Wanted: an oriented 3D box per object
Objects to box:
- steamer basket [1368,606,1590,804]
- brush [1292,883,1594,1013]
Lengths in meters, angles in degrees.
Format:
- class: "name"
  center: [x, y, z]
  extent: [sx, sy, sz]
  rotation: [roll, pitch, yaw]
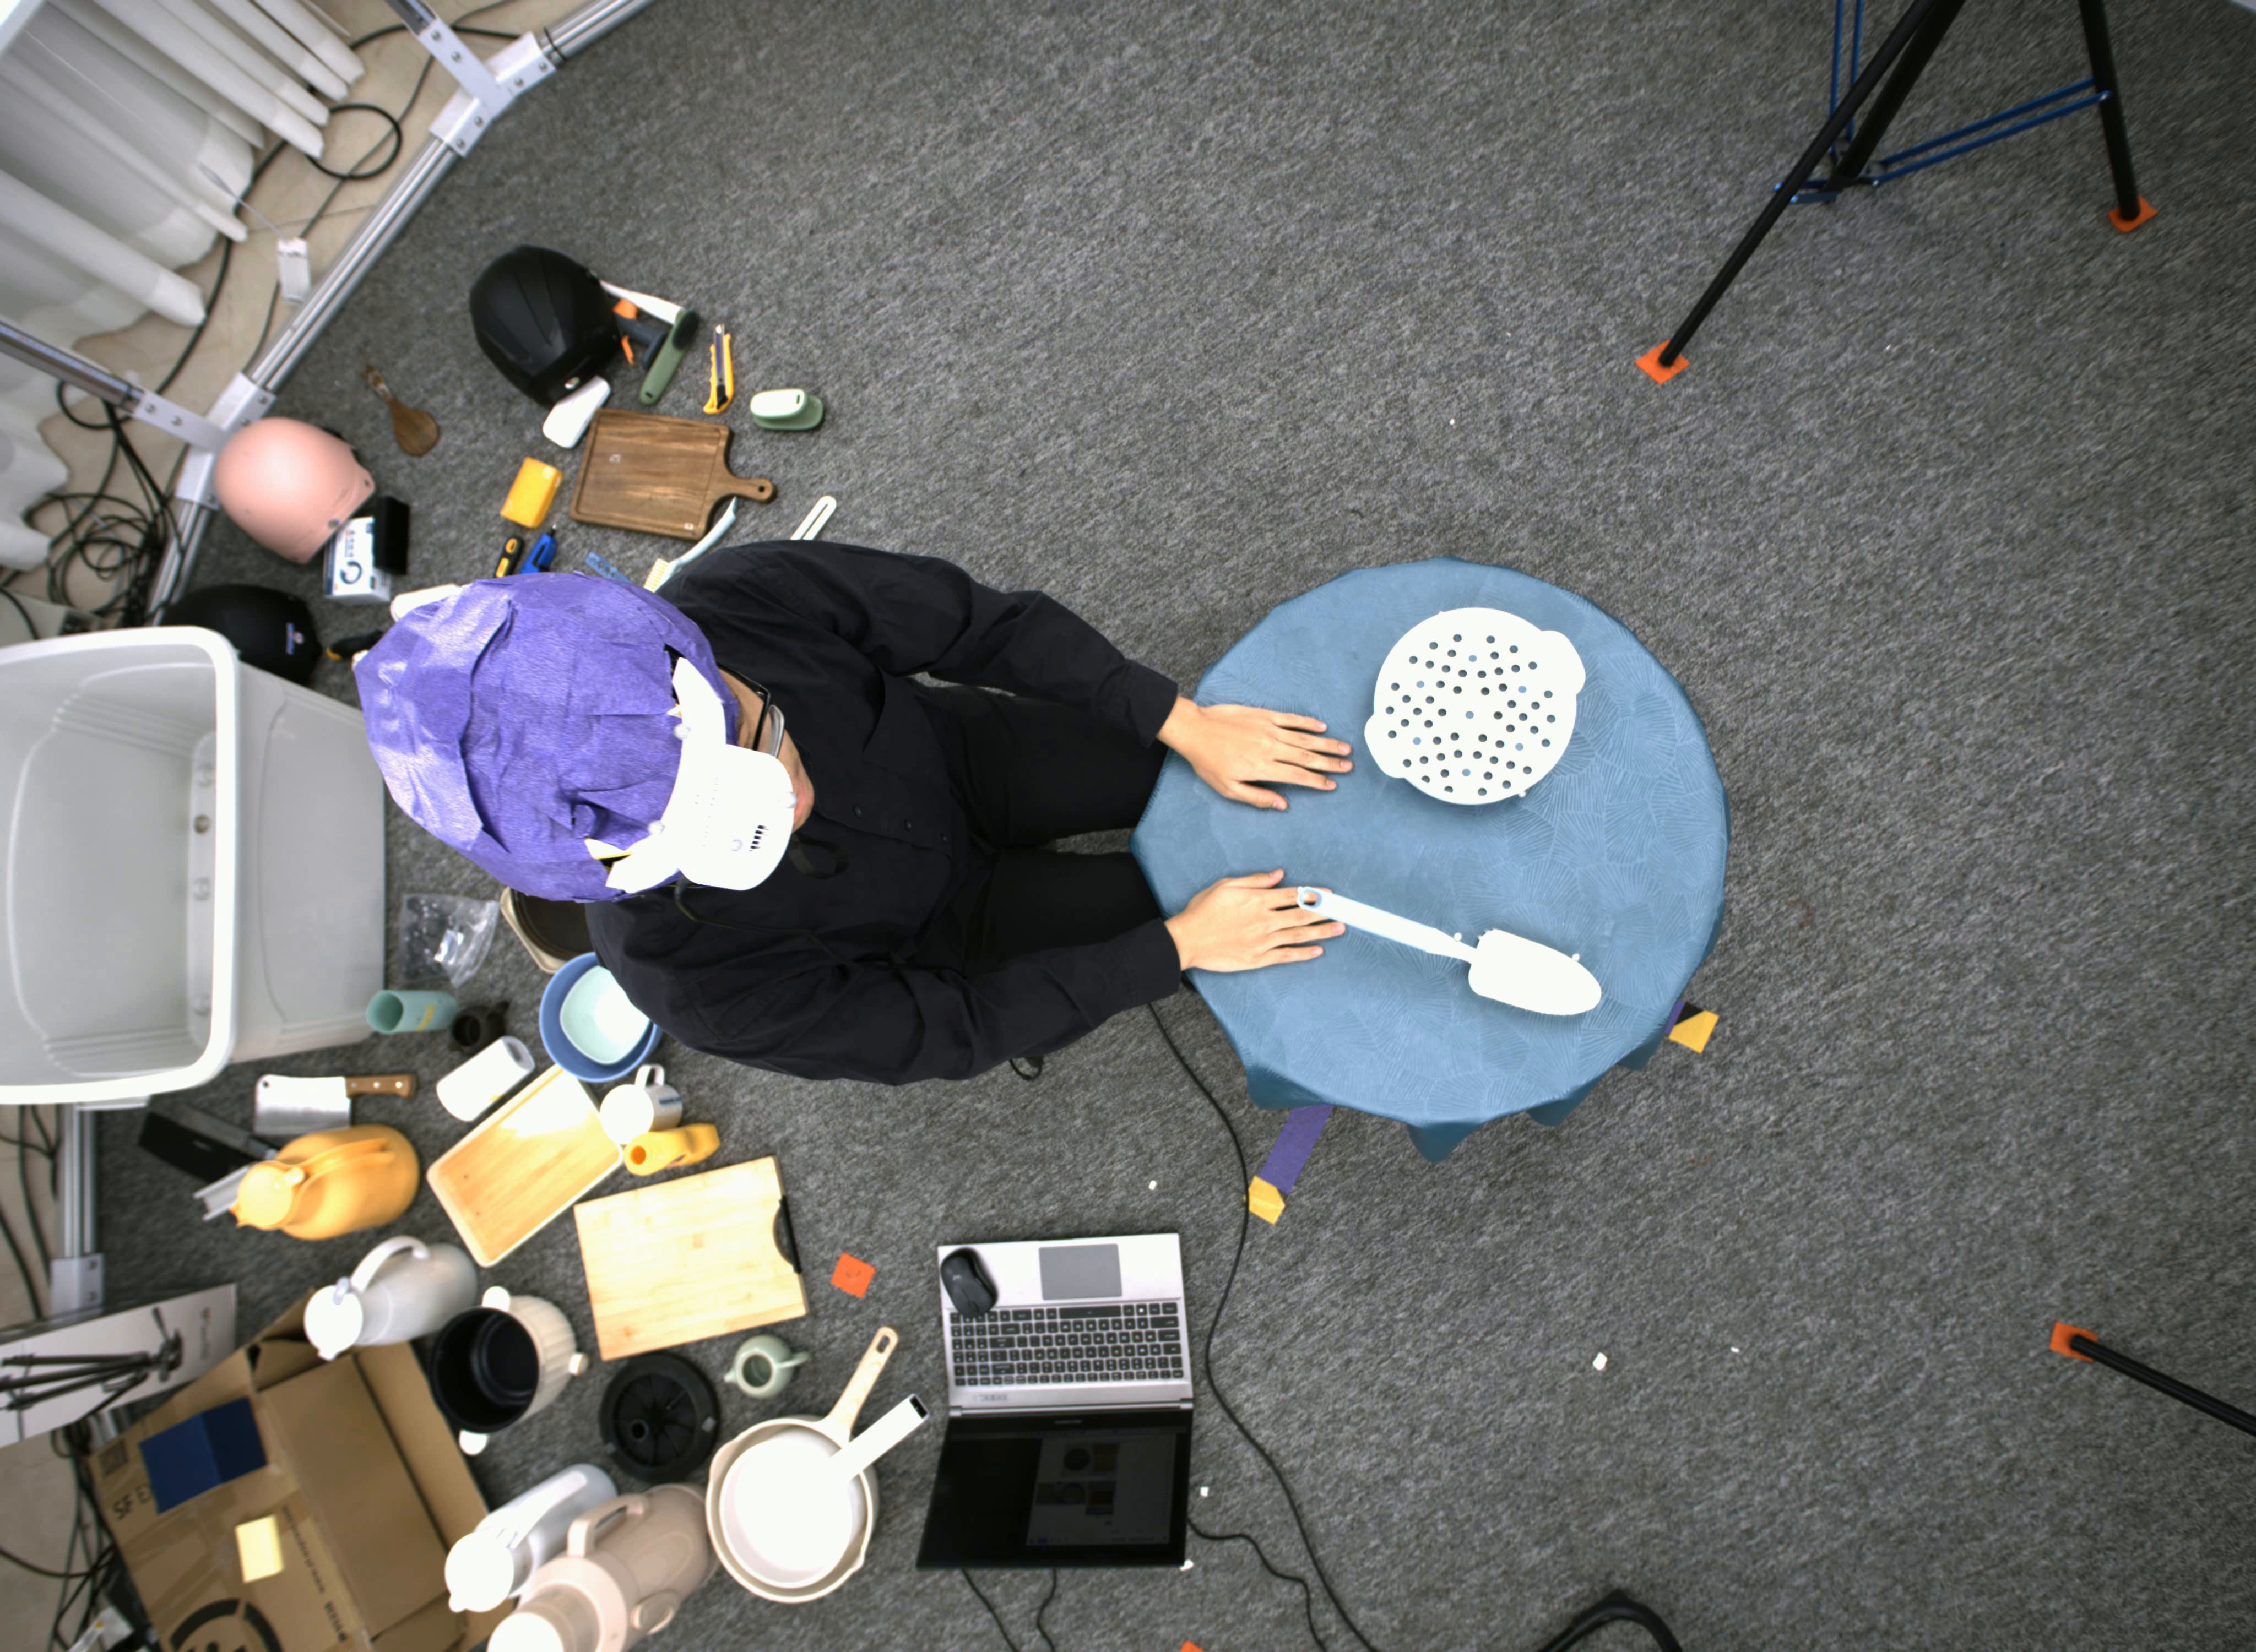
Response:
- class: "steamer basket"
  center: [0.361, -0.124, 1.419]
  extent: [0.232, 0.069, 0.200]
  rotation: [-26, 82, 8]
- class: "brush"
  center: [0.318, 0.114, 1.405]
  extent: [0.326, 0.087, 0.081]
  rotation: [19, 52, -1]
